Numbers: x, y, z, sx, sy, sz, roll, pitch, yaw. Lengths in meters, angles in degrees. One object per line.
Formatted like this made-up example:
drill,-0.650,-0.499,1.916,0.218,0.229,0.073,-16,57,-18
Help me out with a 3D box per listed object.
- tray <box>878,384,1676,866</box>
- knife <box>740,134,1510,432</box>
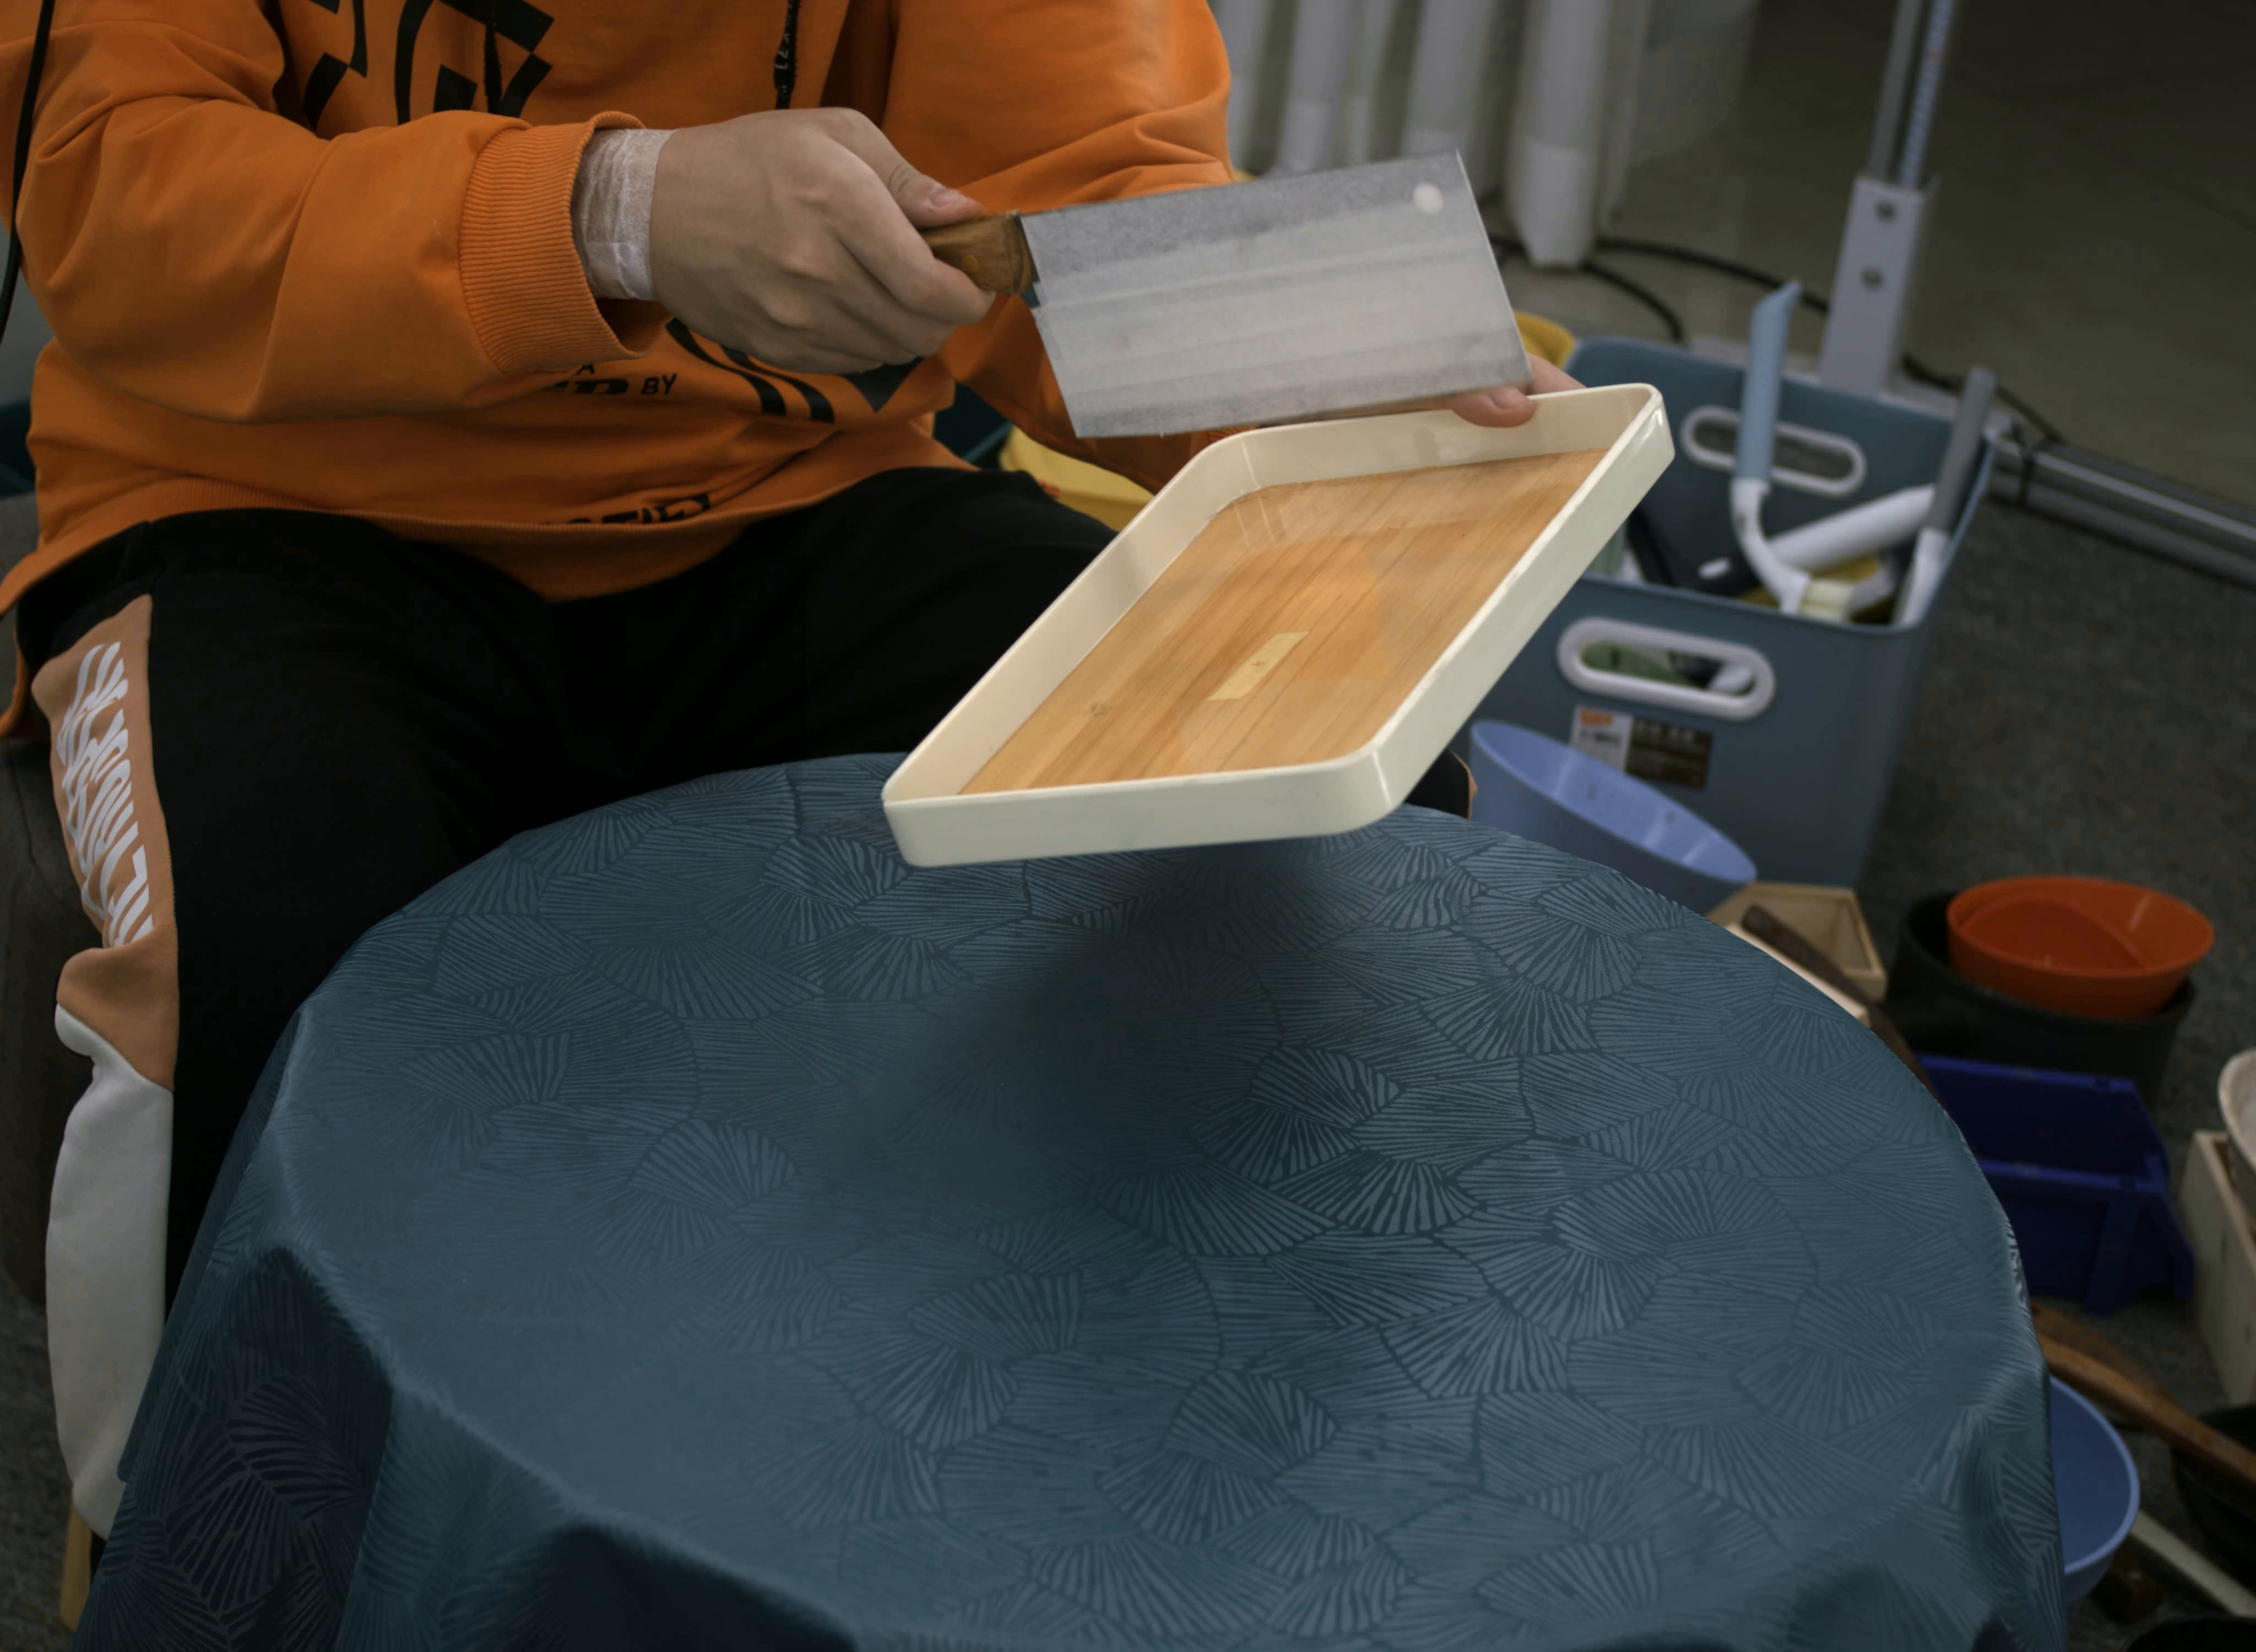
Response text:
tray,0.057,-0.072,1.841,0.192,0.027,0.300,-5,26,31
knife,-0.003,-0.184,1.891,0.307,0.092,0.021,-5,28,34
